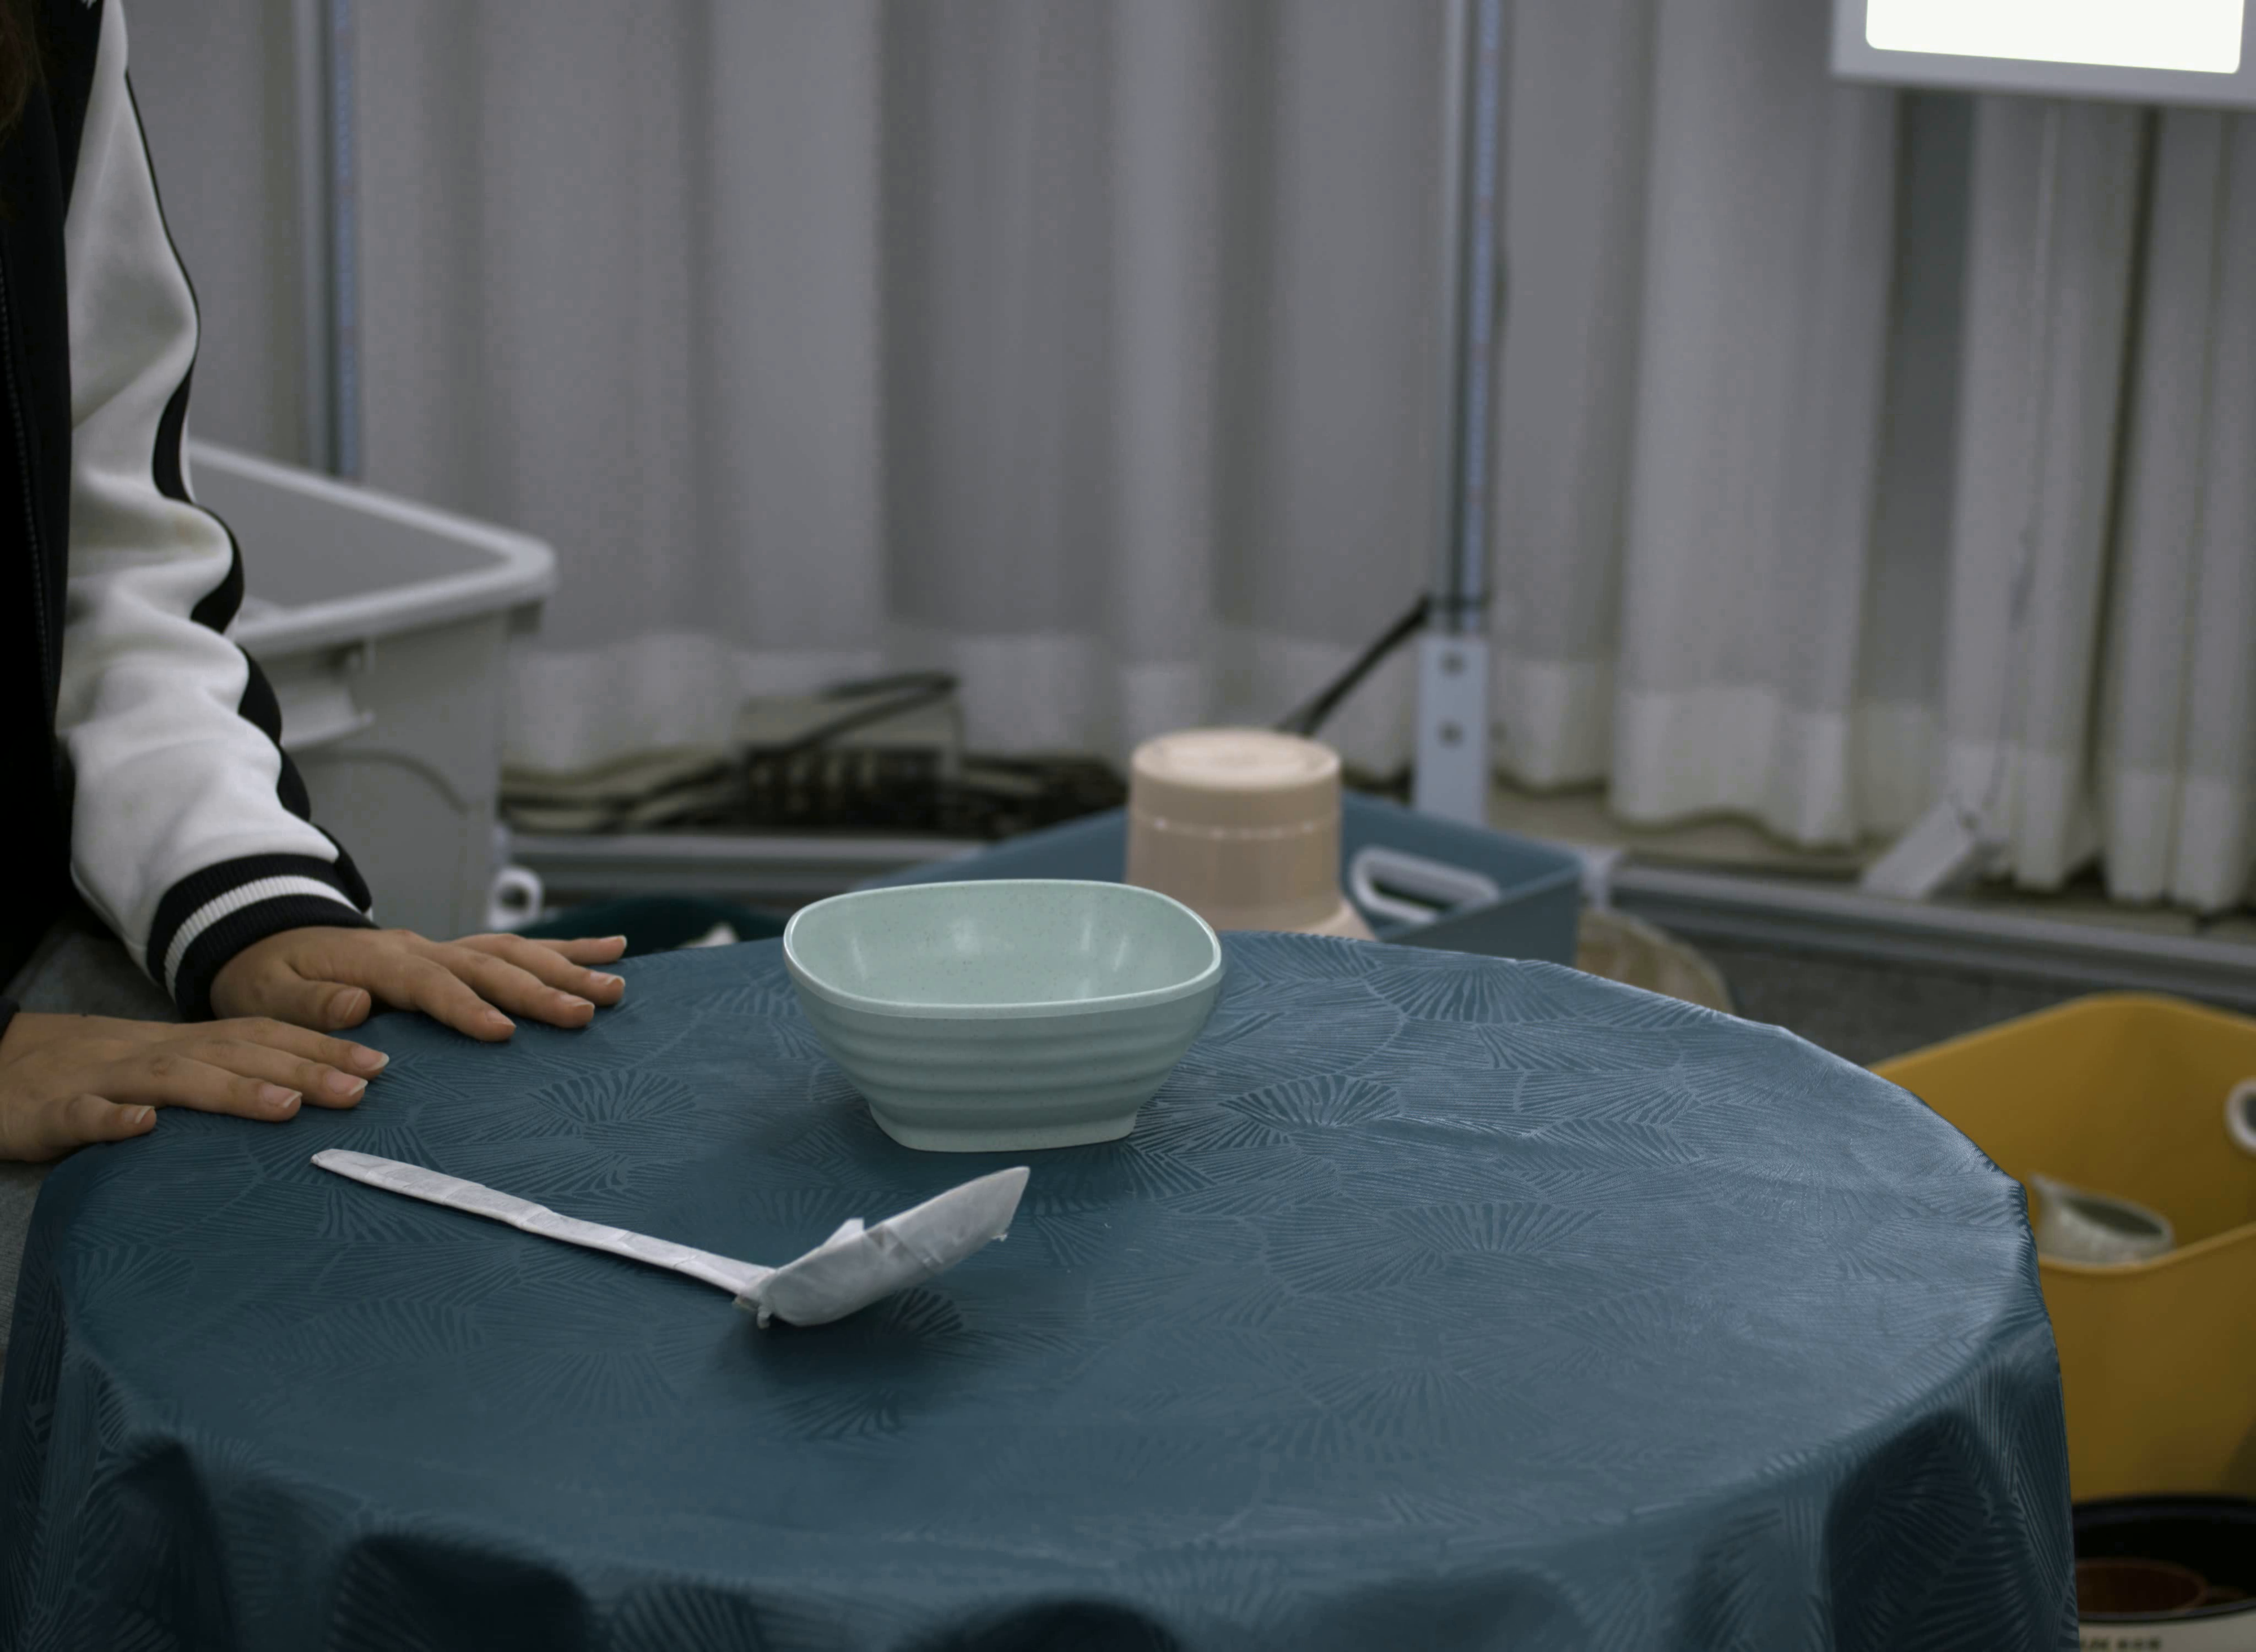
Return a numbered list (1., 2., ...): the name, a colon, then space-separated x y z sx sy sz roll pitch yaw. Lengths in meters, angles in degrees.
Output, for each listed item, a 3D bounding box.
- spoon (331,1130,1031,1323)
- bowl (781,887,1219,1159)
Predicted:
1. spoon: -0.141 0.098 1.560 0.274 0.060 0.101 14 16 40
2. bowl: -0.041 0.066 1.688 0.151 0.059 0.150 1 15 0
